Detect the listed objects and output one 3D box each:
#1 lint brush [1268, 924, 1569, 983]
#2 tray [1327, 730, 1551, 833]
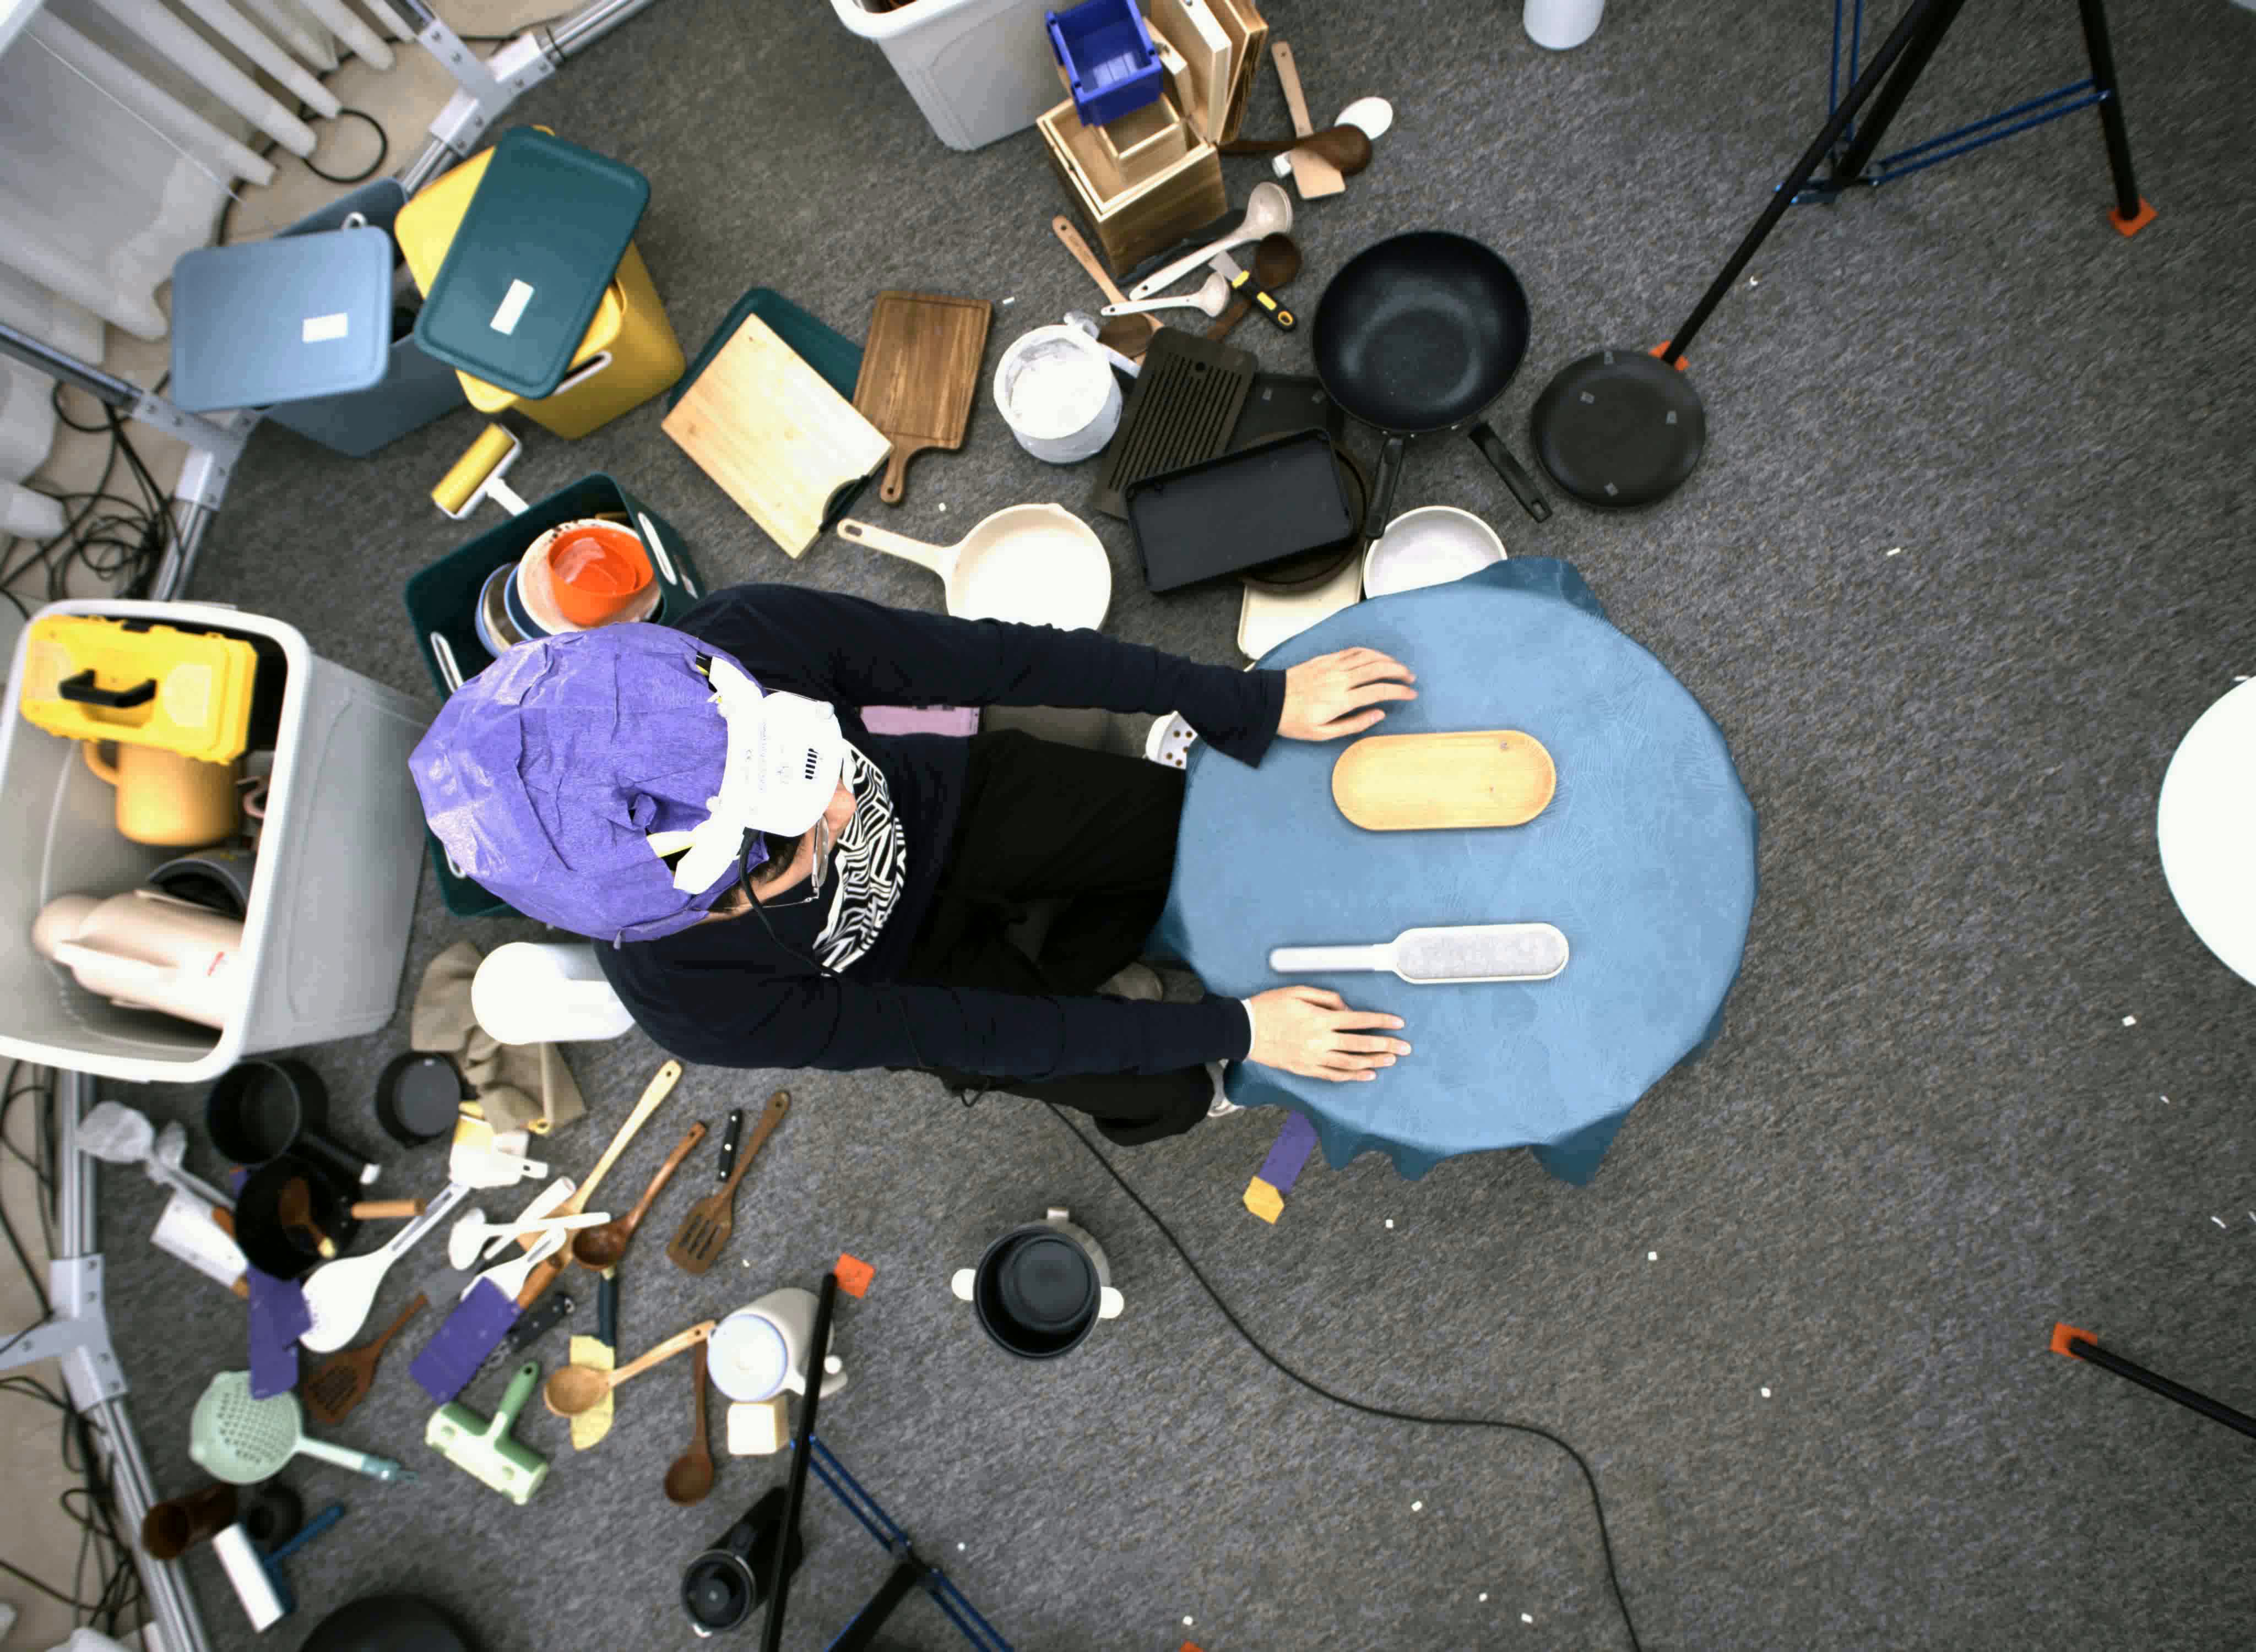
[{"bbox_3d":[0.300,0.132,1.437,0.310,0.021,0.060,-3,91,11],"label":"lint brush"},{"bbox_3d":[0.327,-0.048,1.448,0.232,0.020,0.101,-4,84,12],"label":"tray"}]
